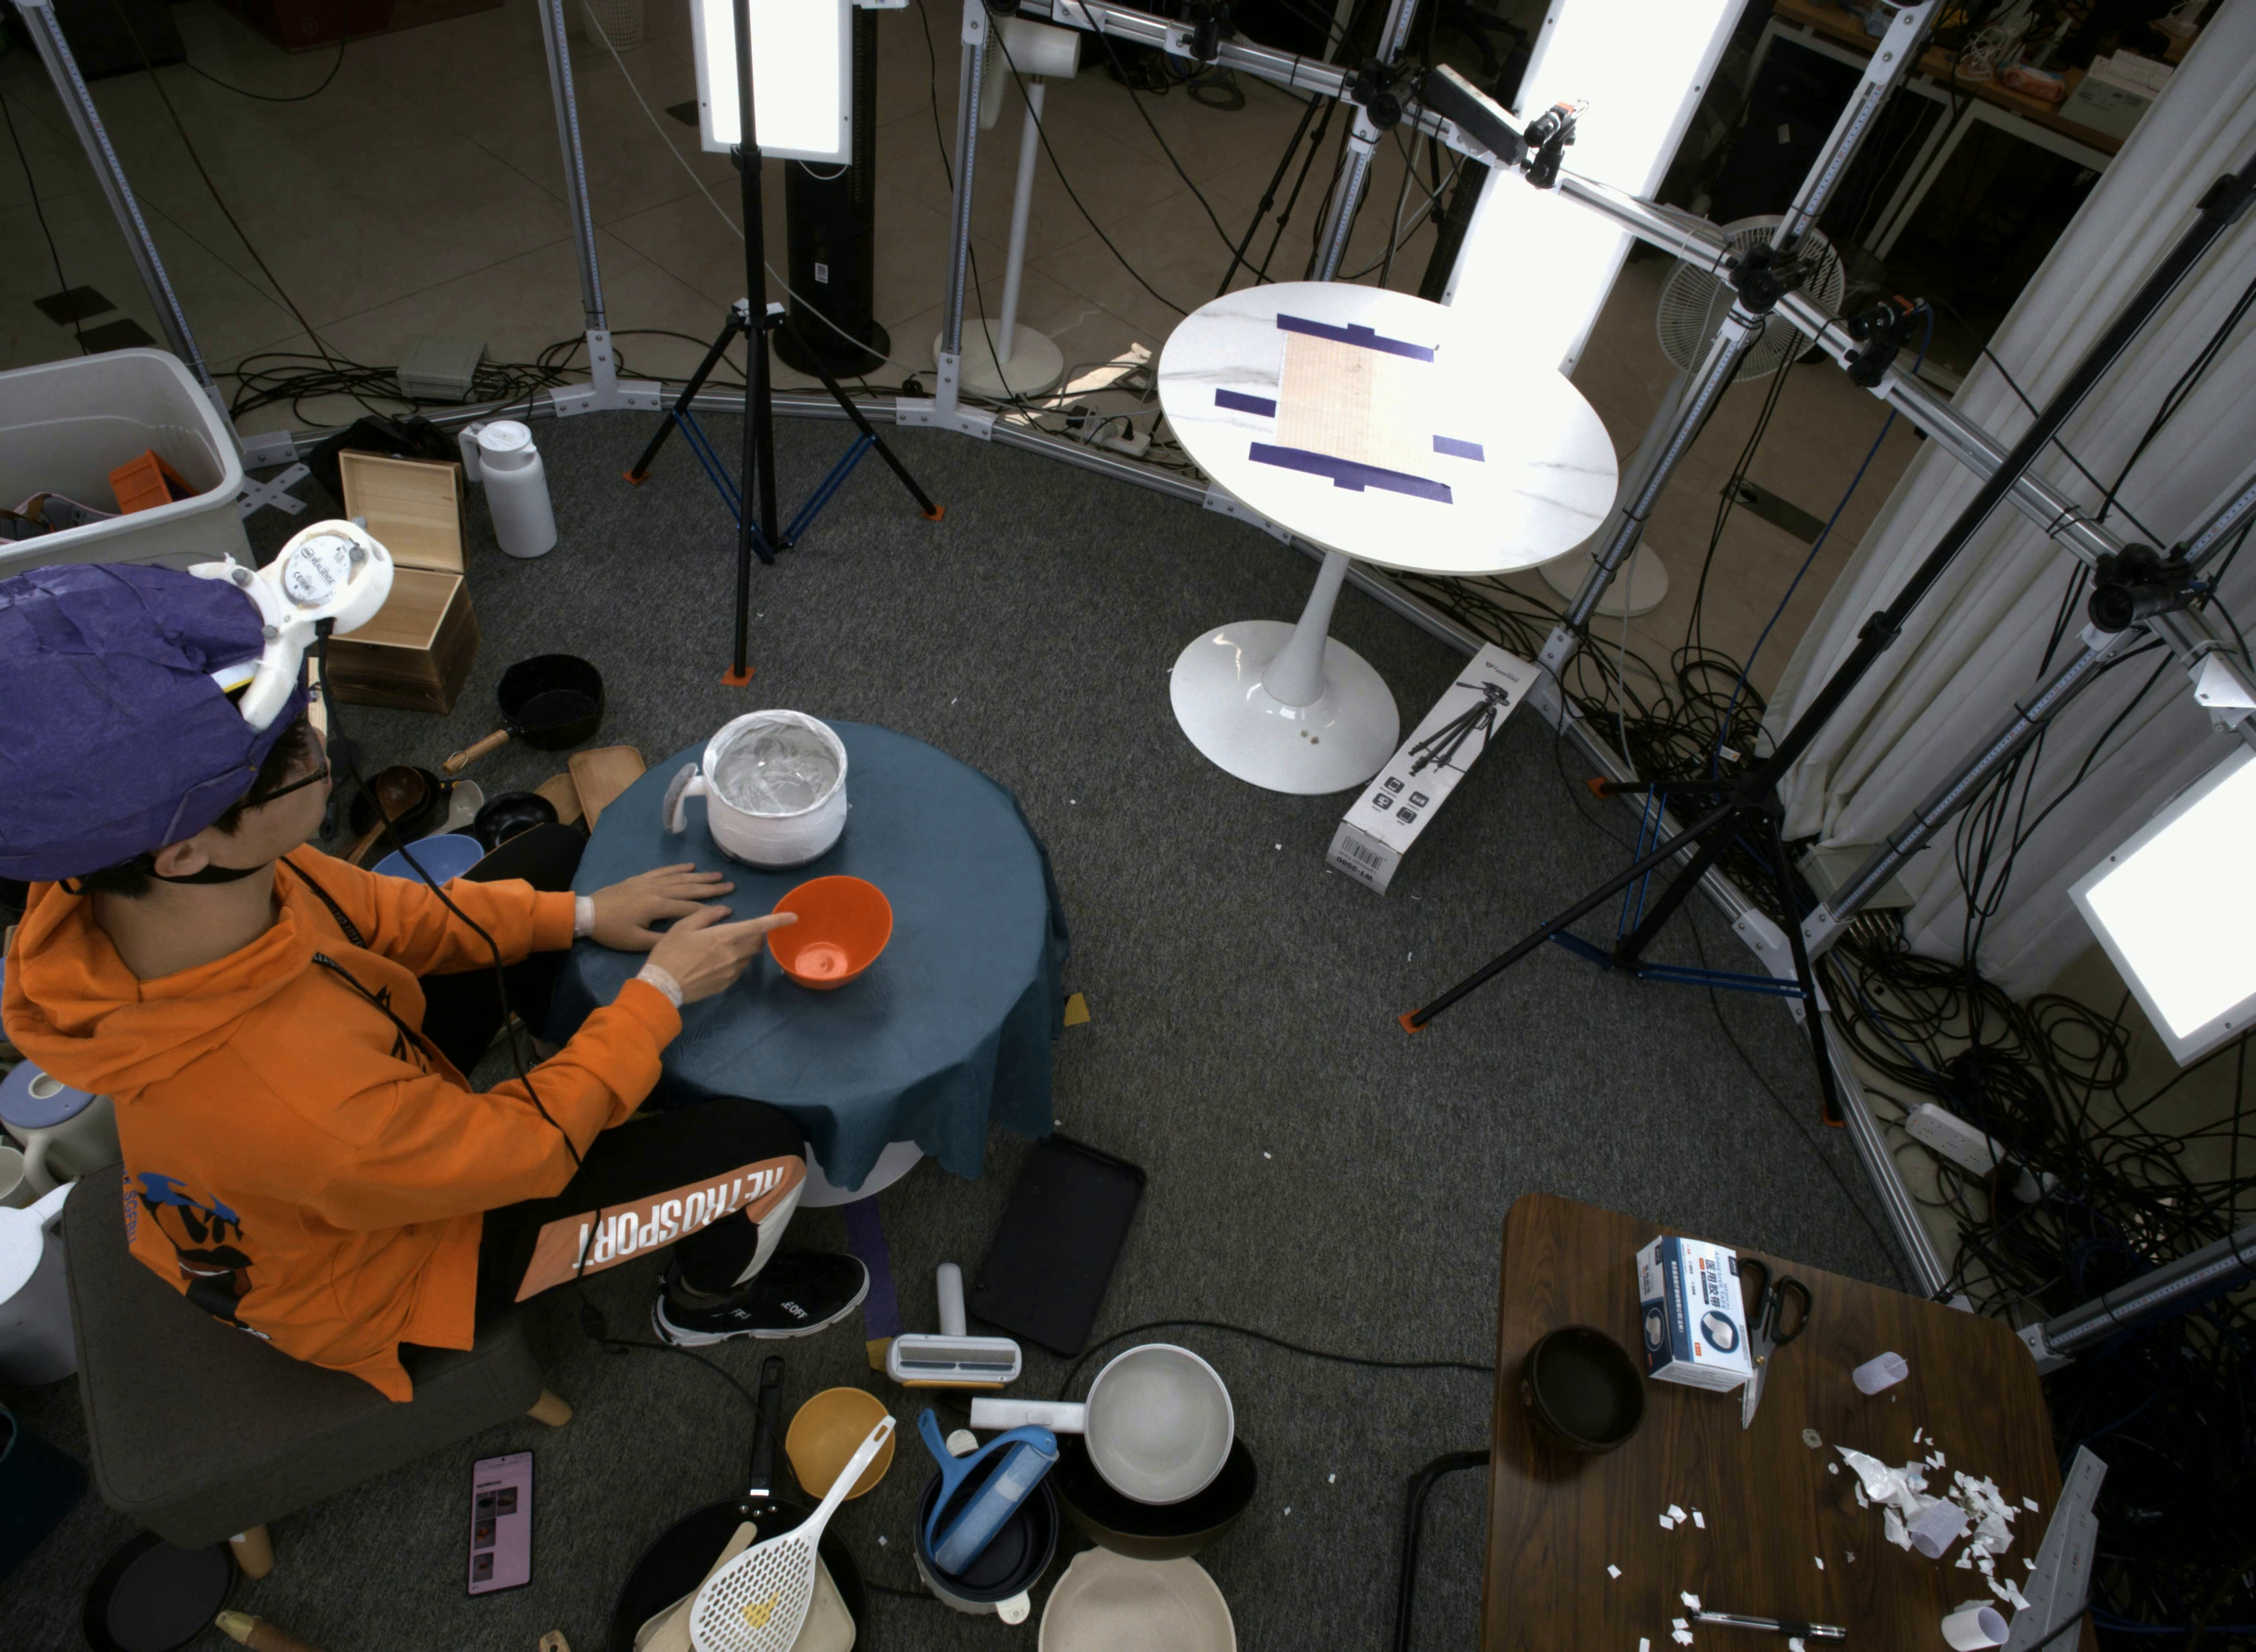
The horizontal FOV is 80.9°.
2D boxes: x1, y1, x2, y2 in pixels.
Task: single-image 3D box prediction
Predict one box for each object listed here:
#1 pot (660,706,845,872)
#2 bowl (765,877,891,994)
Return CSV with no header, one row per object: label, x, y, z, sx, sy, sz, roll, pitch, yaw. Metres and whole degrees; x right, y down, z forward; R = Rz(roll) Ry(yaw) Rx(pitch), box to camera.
pot,-0.477,-0.041,1.641,0.235,0.139,0.174,-7,54,-19
bowl,-0.359,0.144,1.560,0.147,0.107,0.145,7,52,-8
